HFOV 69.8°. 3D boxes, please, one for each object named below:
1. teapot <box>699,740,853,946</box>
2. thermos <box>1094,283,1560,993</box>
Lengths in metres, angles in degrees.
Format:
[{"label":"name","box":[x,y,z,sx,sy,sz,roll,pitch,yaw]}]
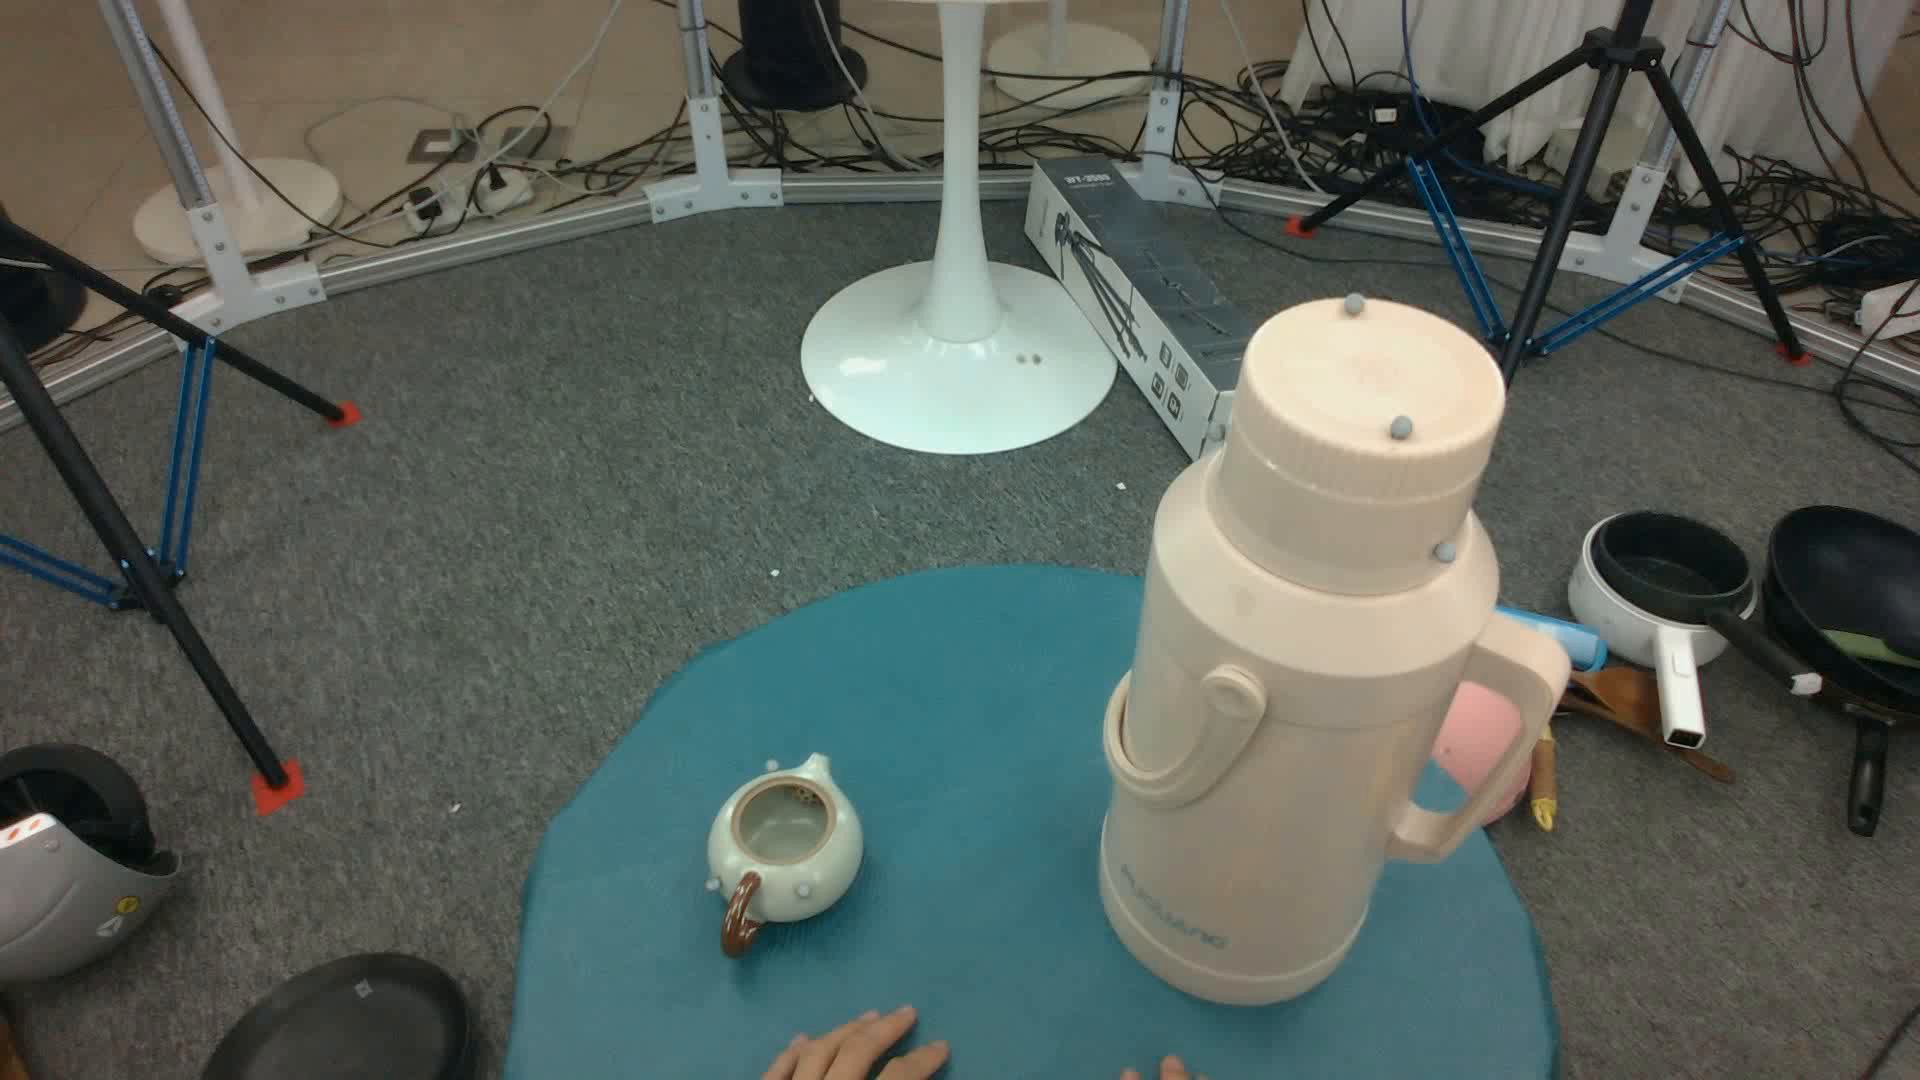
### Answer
[{"label":"teapot","box":[-0.113,0.182,0.817,0.092,0.059,0.129,17,47,9]},{"label":"thermos","box":[0.174,0.072,0.699,0.207,0.404,0.176,25,48,22]}]
